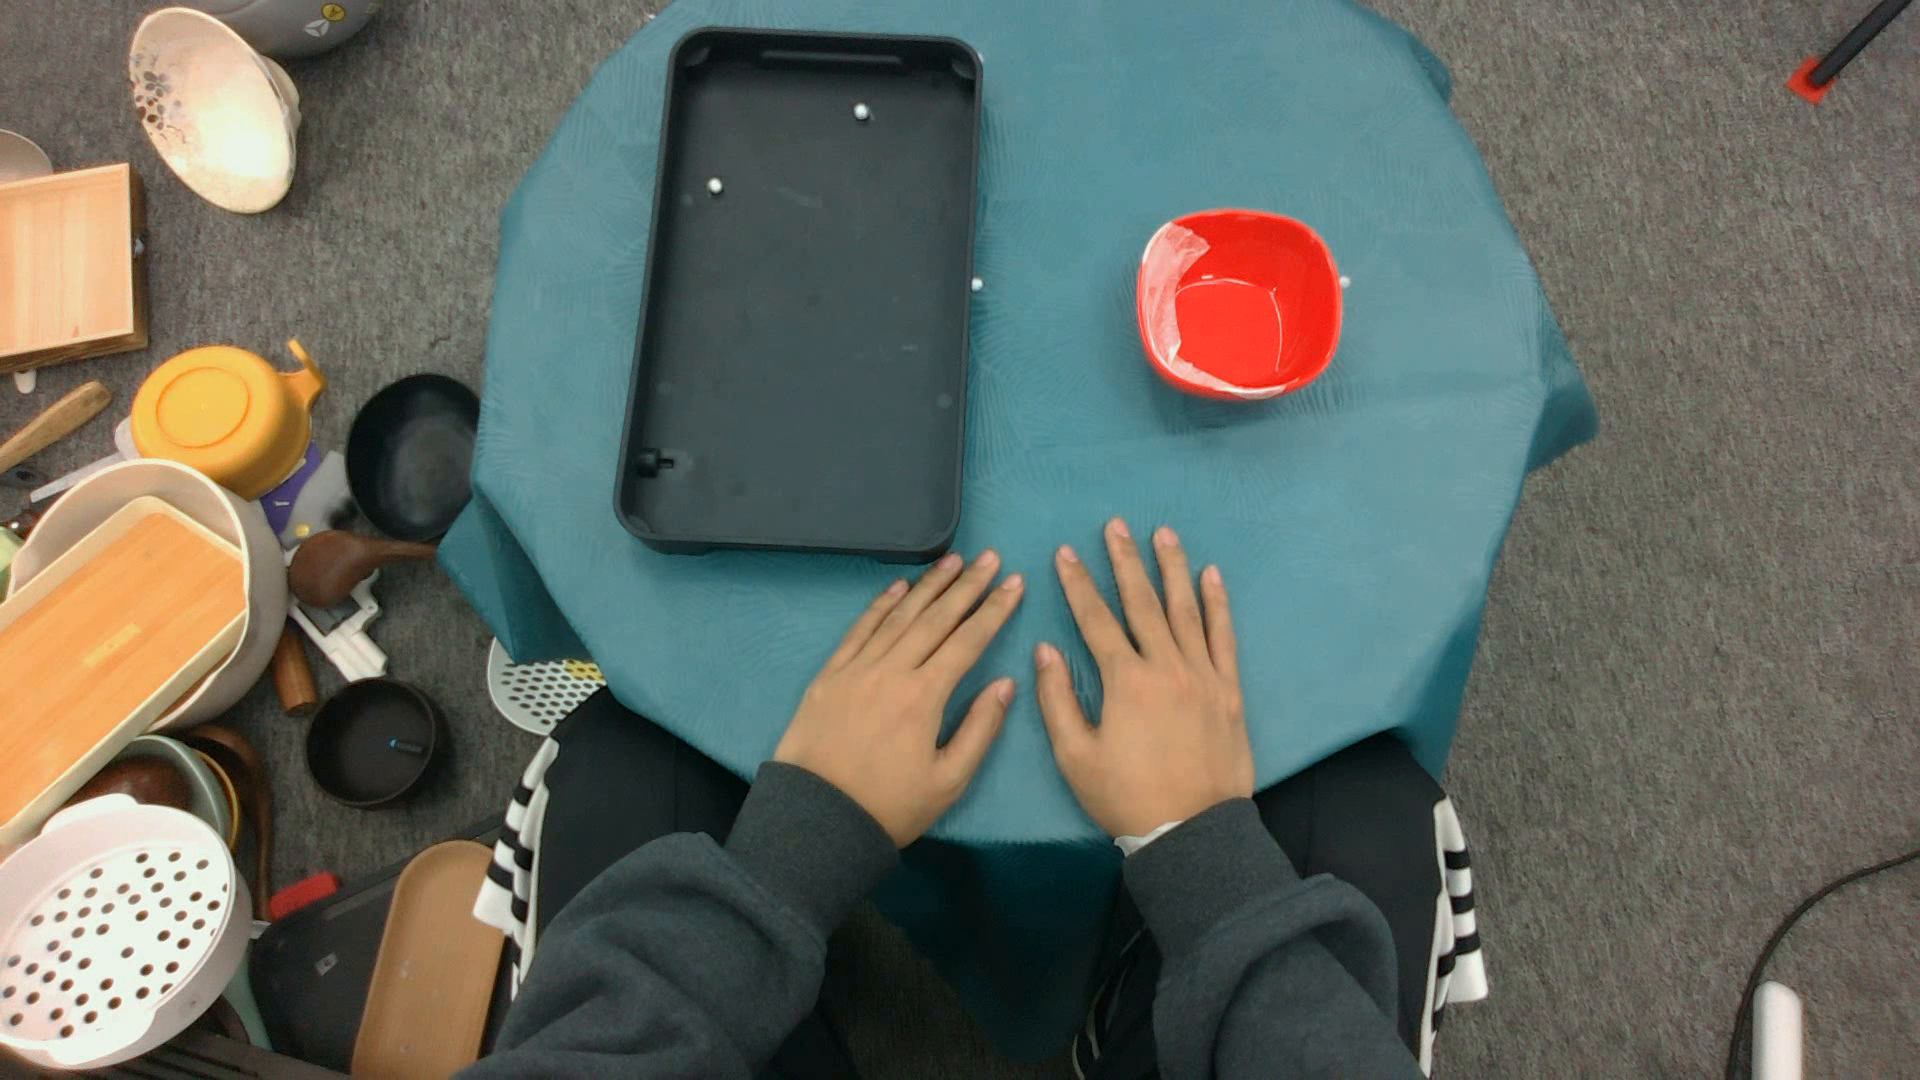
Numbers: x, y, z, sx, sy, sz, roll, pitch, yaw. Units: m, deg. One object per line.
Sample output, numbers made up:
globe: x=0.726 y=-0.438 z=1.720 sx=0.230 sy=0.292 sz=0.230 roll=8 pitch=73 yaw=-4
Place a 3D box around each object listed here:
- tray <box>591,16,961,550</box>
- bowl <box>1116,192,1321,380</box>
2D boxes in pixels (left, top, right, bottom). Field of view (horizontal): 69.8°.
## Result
tray: x=-0.095 y=-0.150 z=0.773 sx=0.184 sy=0.037 sz=0.319 roll=2 pitch=71 yaw=0
bowl: x=0.139 y=-0.132 z=0.764 sx=0.119 sy=0.051 sz=0.119 roll=1 pitch=71 yaw=-2
